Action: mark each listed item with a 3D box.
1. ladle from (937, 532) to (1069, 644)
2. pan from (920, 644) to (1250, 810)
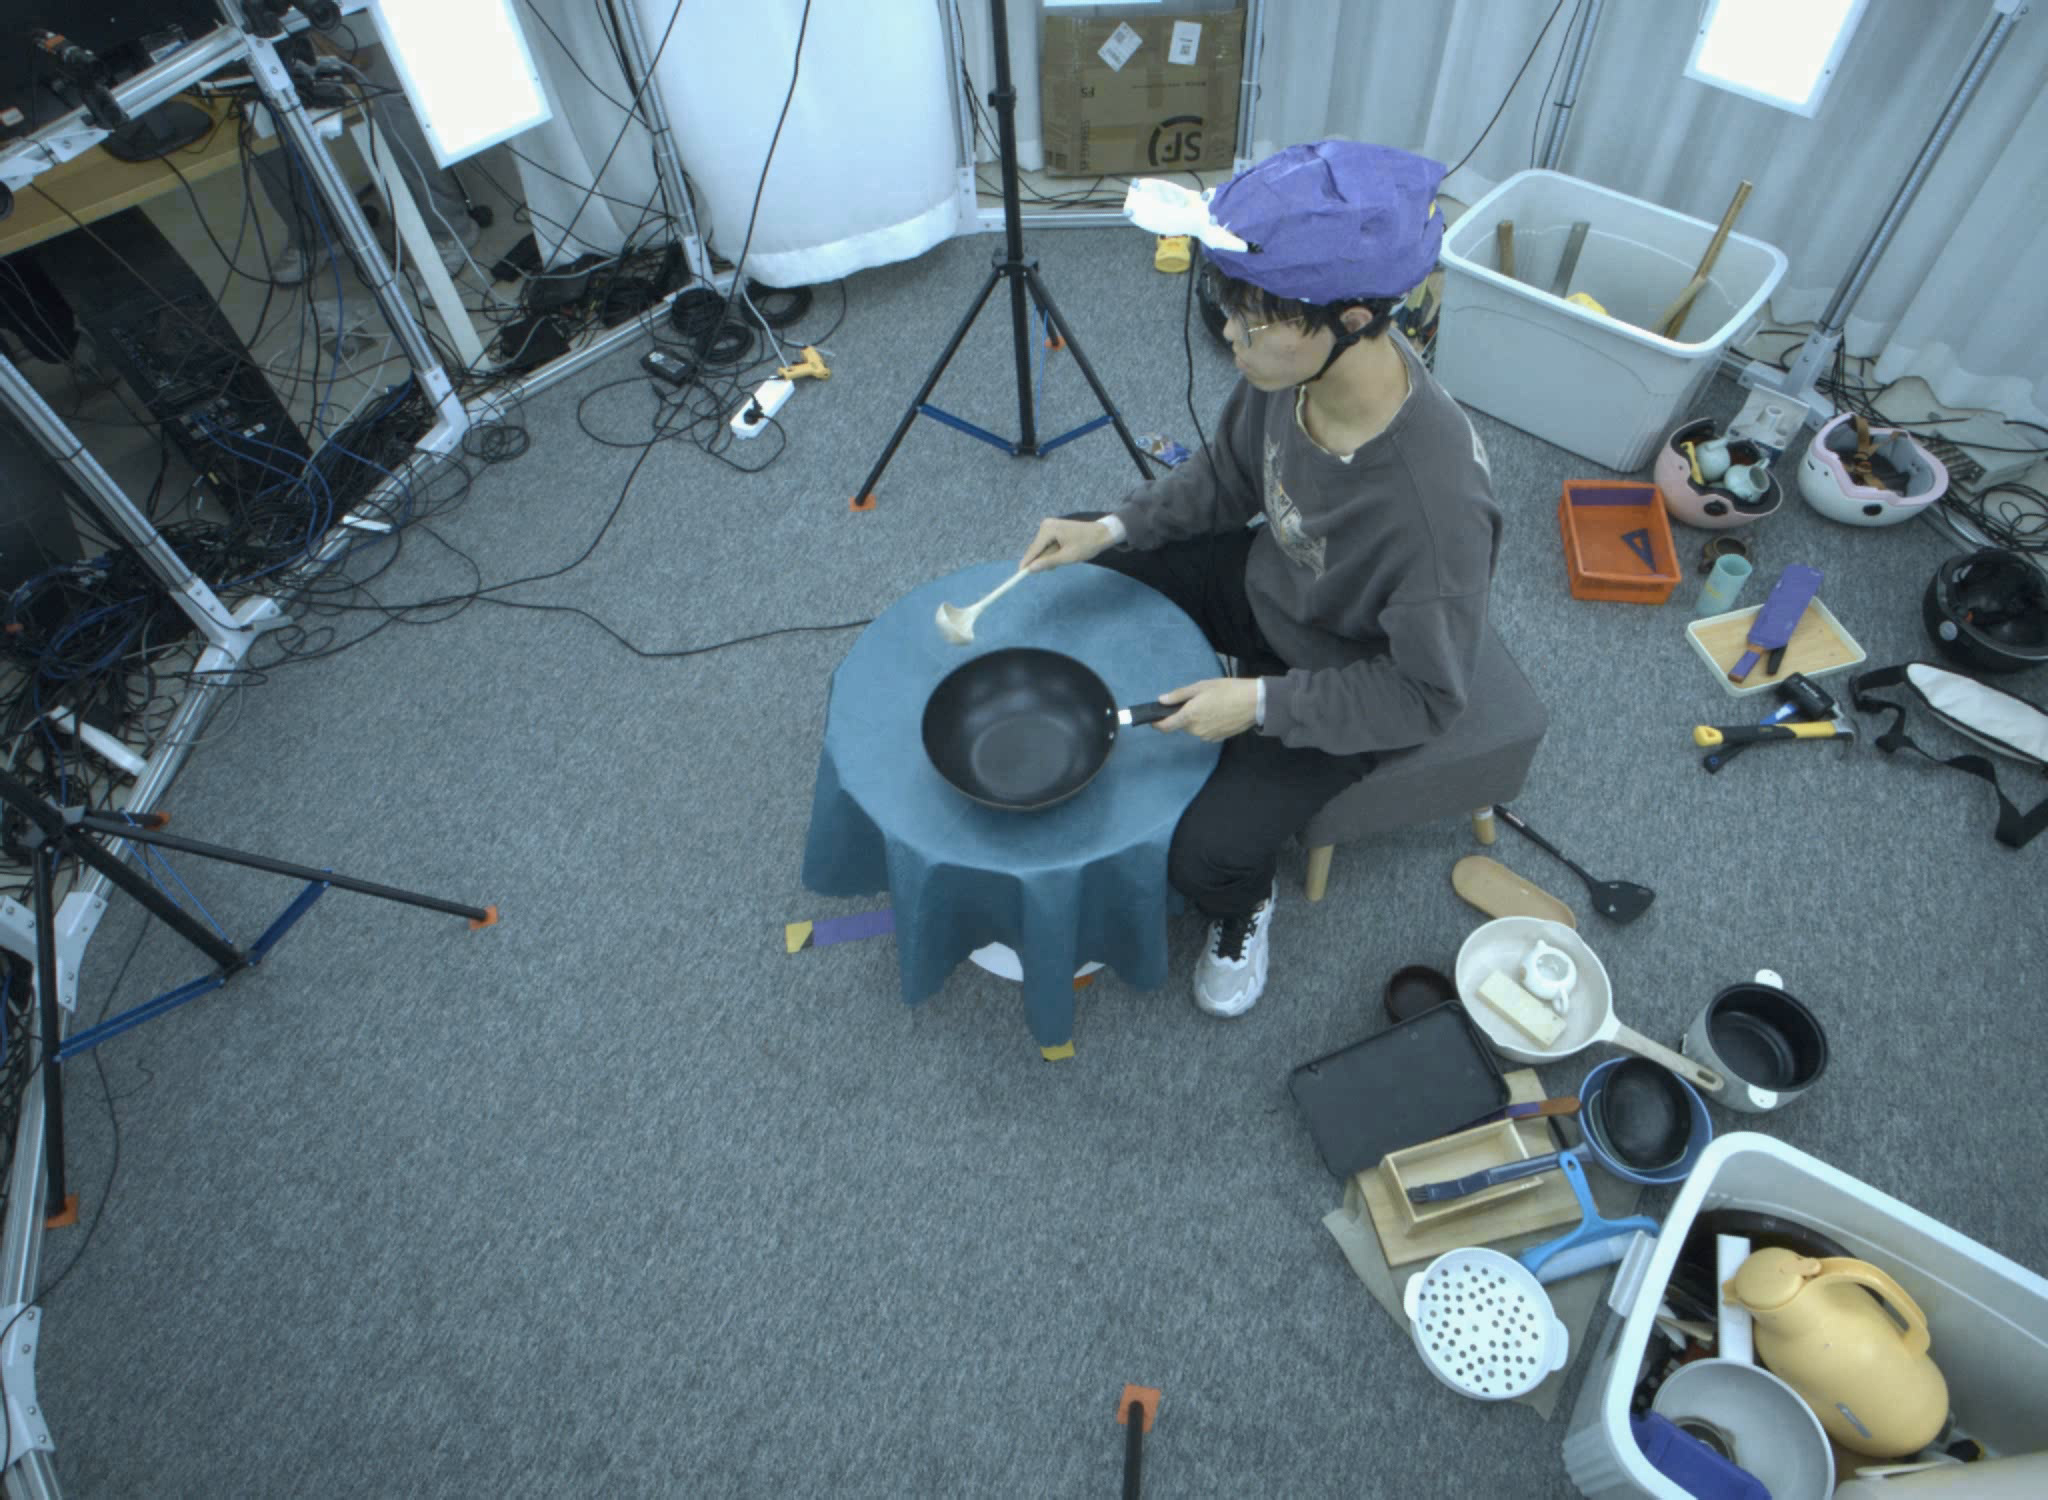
[{"bbox_3d":[-0.023,-0.254,1.835,0.255,0.072,0.072,-41,93,-10],"label":"ladle"},{"bbox_3d":[0.086,-0.028,1.751,0.464,0.088,0.284,-5,54,-3],"label":"pan"}]
